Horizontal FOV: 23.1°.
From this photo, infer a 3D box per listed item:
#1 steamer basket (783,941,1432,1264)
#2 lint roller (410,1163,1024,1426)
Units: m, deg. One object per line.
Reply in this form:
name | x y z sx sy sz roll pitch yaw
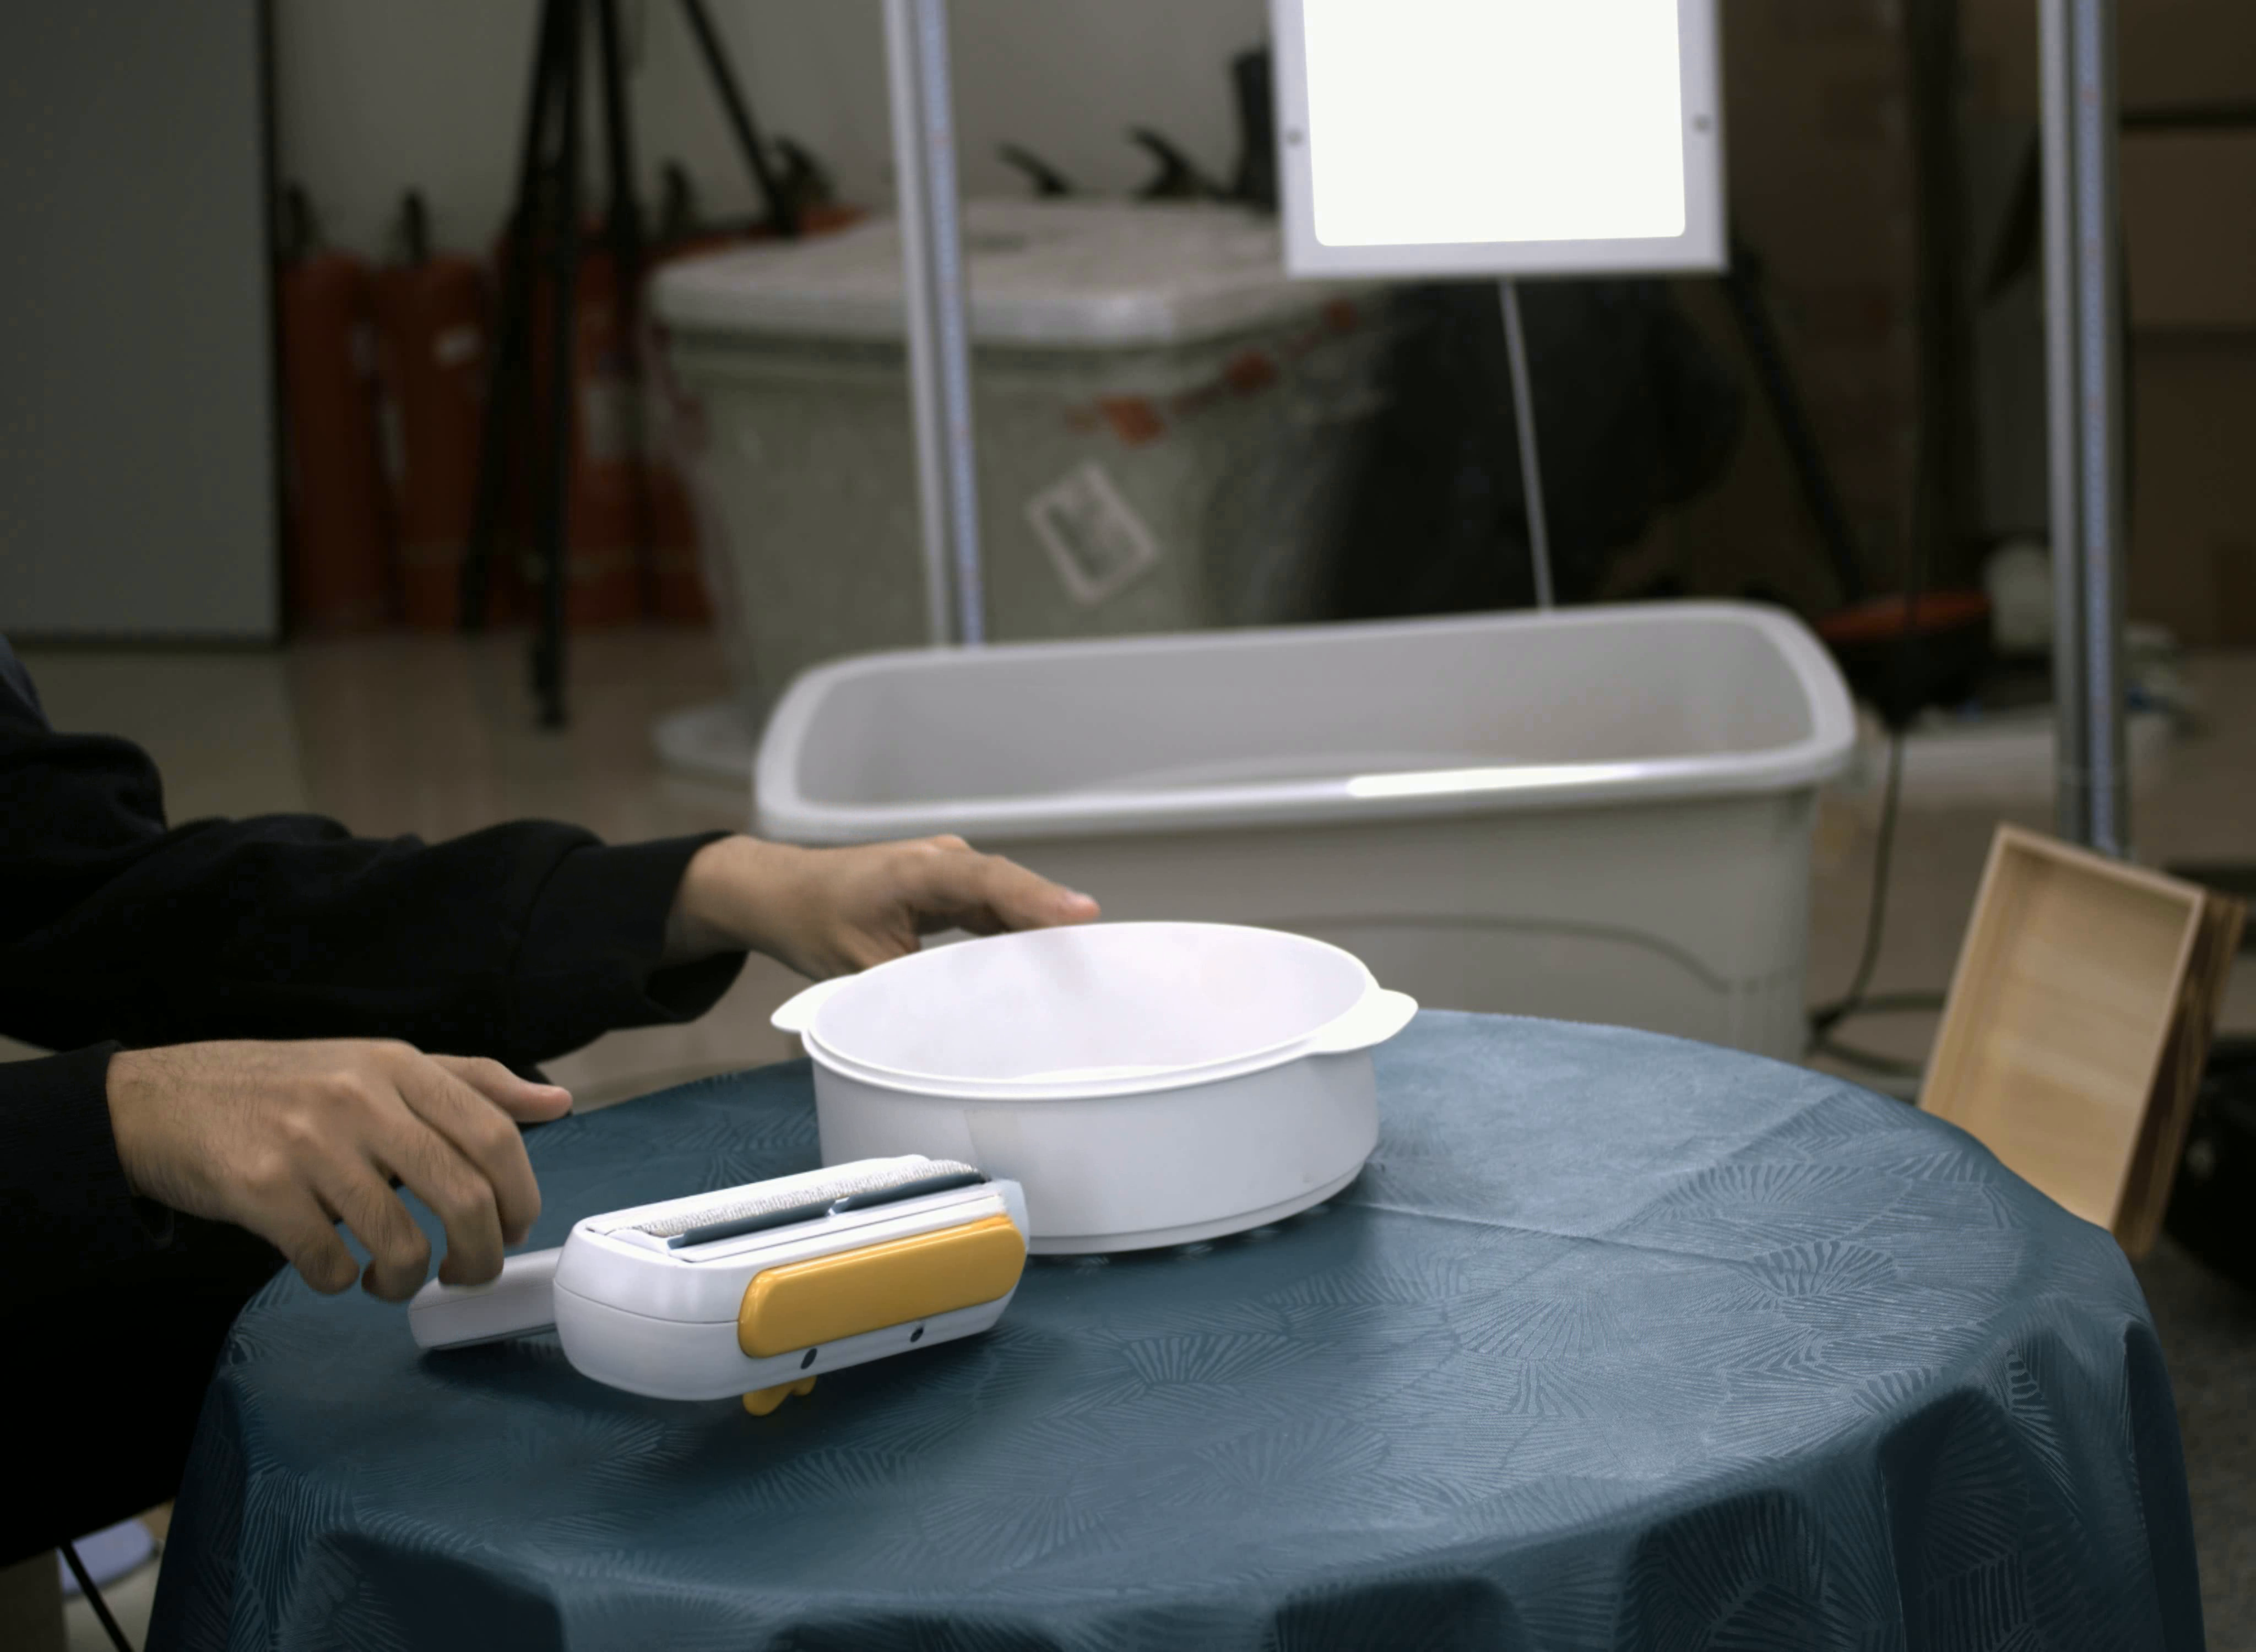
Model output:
steamer basket | -0.006 0.095 1.898 0.234 0.069 0.198 -2 12 23
lint roller | -0.153 0.144 1.741 0.196 0.074 0.188 4 11 38
